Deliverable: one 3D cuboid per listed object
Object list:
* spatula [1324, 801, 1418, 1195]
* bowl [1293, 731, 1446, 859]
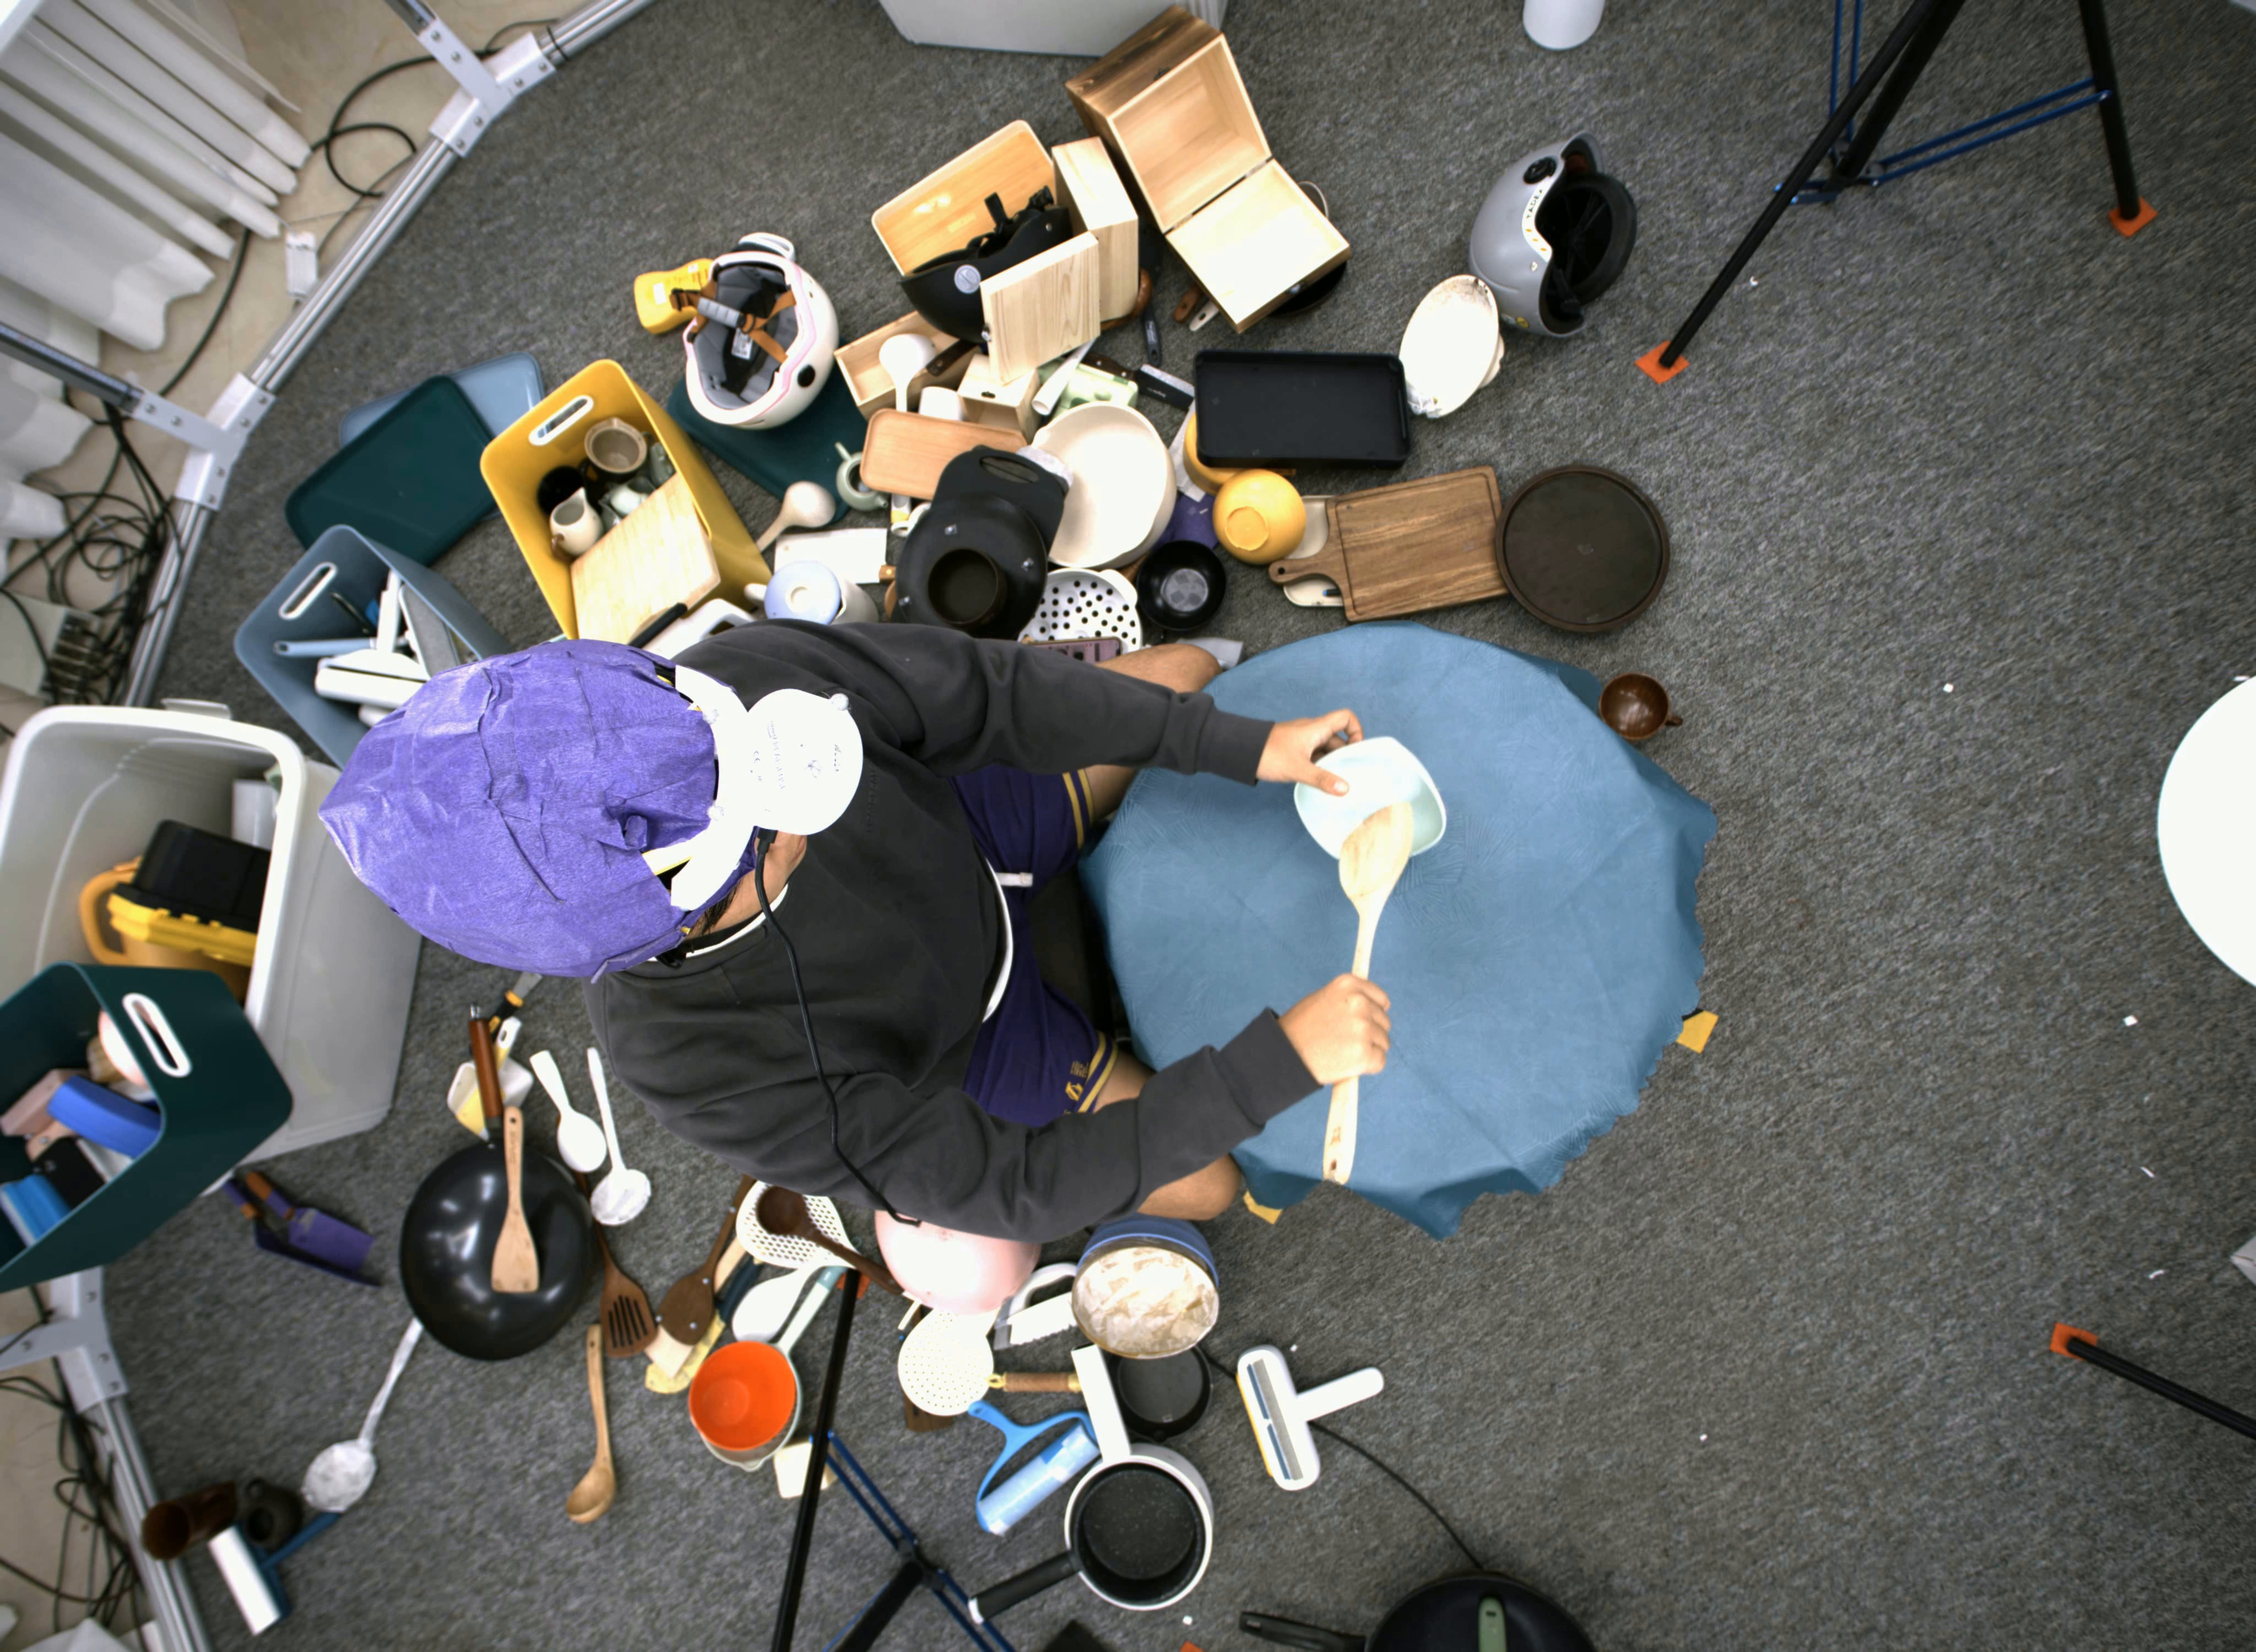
[{"bbox_3d":[0.205,0.136,1.197,0.018,0.098,0.380,30,51,-19],"label":"spatula"},{"bbox_3d":[0.241,-0.041,1.362,0.152,0.155,0.057,7,43,10],"label":"bowl"}]
